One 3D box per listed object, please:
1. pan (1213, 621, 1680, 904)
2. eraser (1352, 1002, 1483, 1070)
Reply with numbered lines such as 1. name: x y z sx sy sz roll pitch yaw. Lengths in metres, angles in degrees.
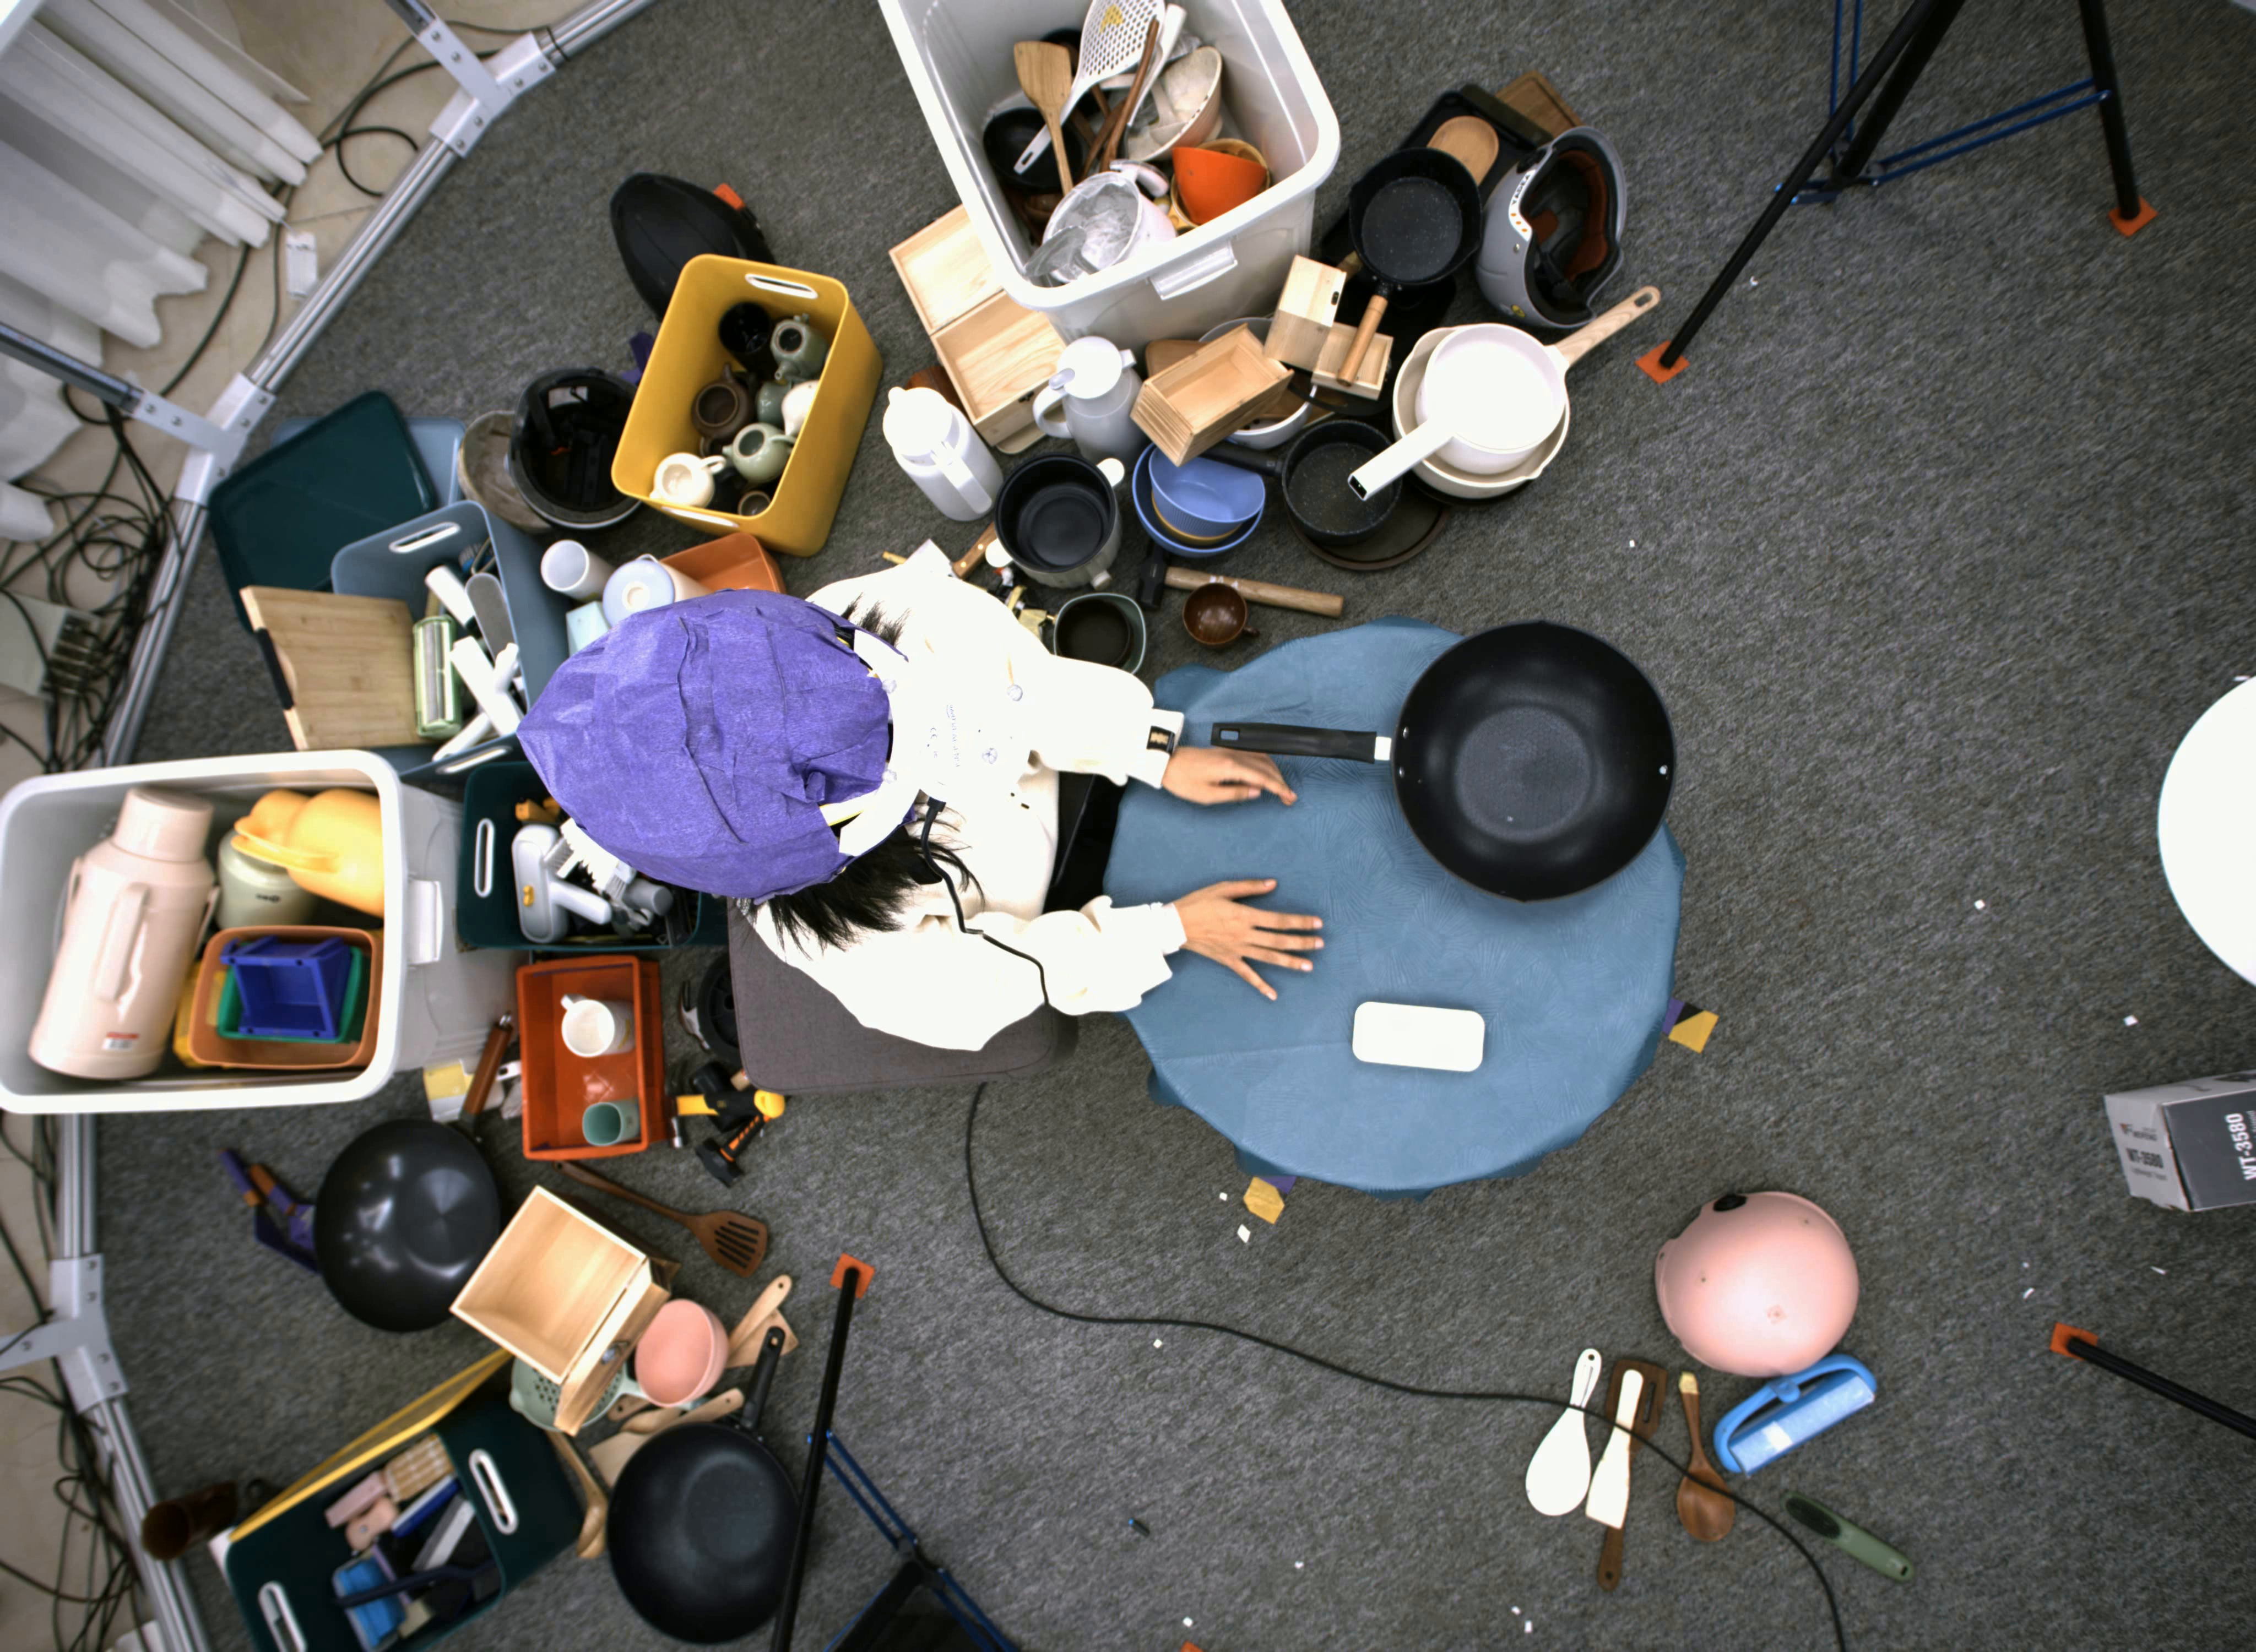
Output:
1. pan: 0.320 -0.072 1.417 0.465 0.087 0.287 6 87 12
2. eraser: 0.300 0.215 1.432 0.132 0.034 0.063 4 84 10
